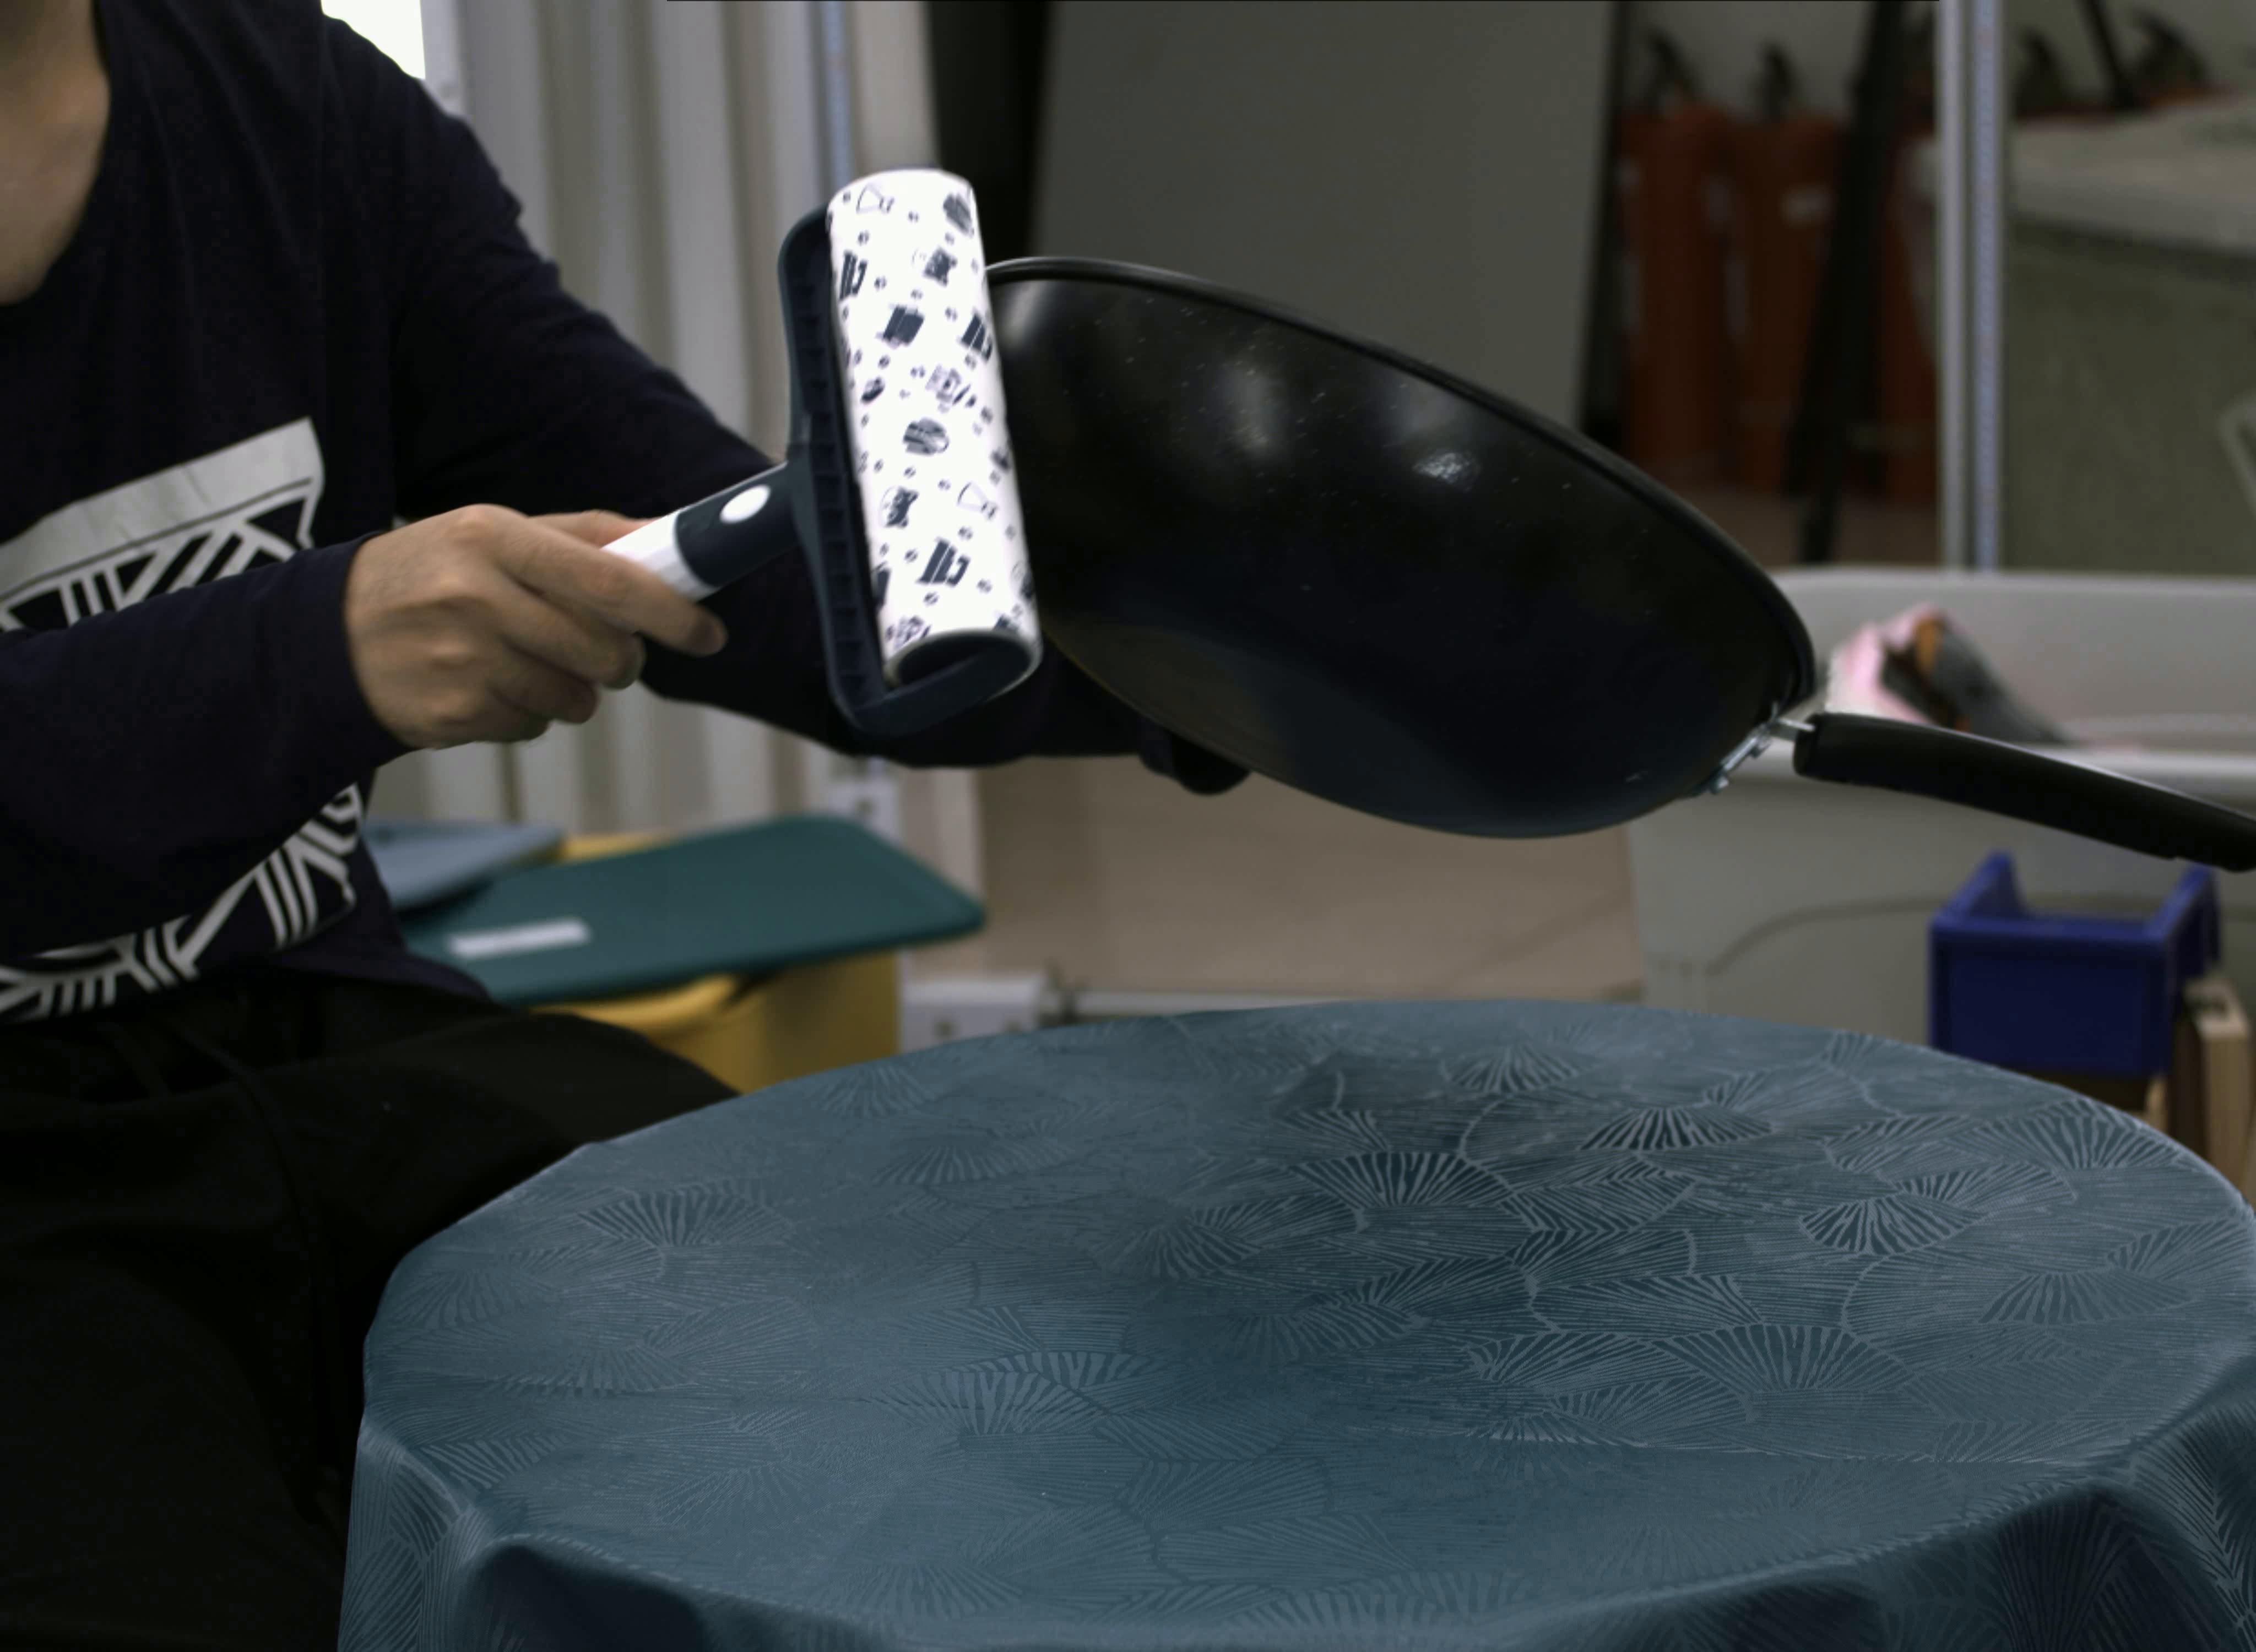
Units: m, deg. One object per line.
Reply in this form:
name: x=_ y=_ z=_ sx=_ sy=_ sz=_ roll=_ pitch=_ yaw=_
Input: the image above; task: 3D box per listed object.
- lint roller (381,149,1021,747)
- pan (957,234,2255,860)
lint roller: x=-0.143 y=-0.082 z=1.672 sx=0.248 sy=0.178 sz=0.049 roll=-26 pitch=-30 yaw=29
pan: x=0.138 y=-0.050 z=1.746 sx=0.472 sy=0.112 sz=0.311 roll=25 pitch=-12 yaw=-3
